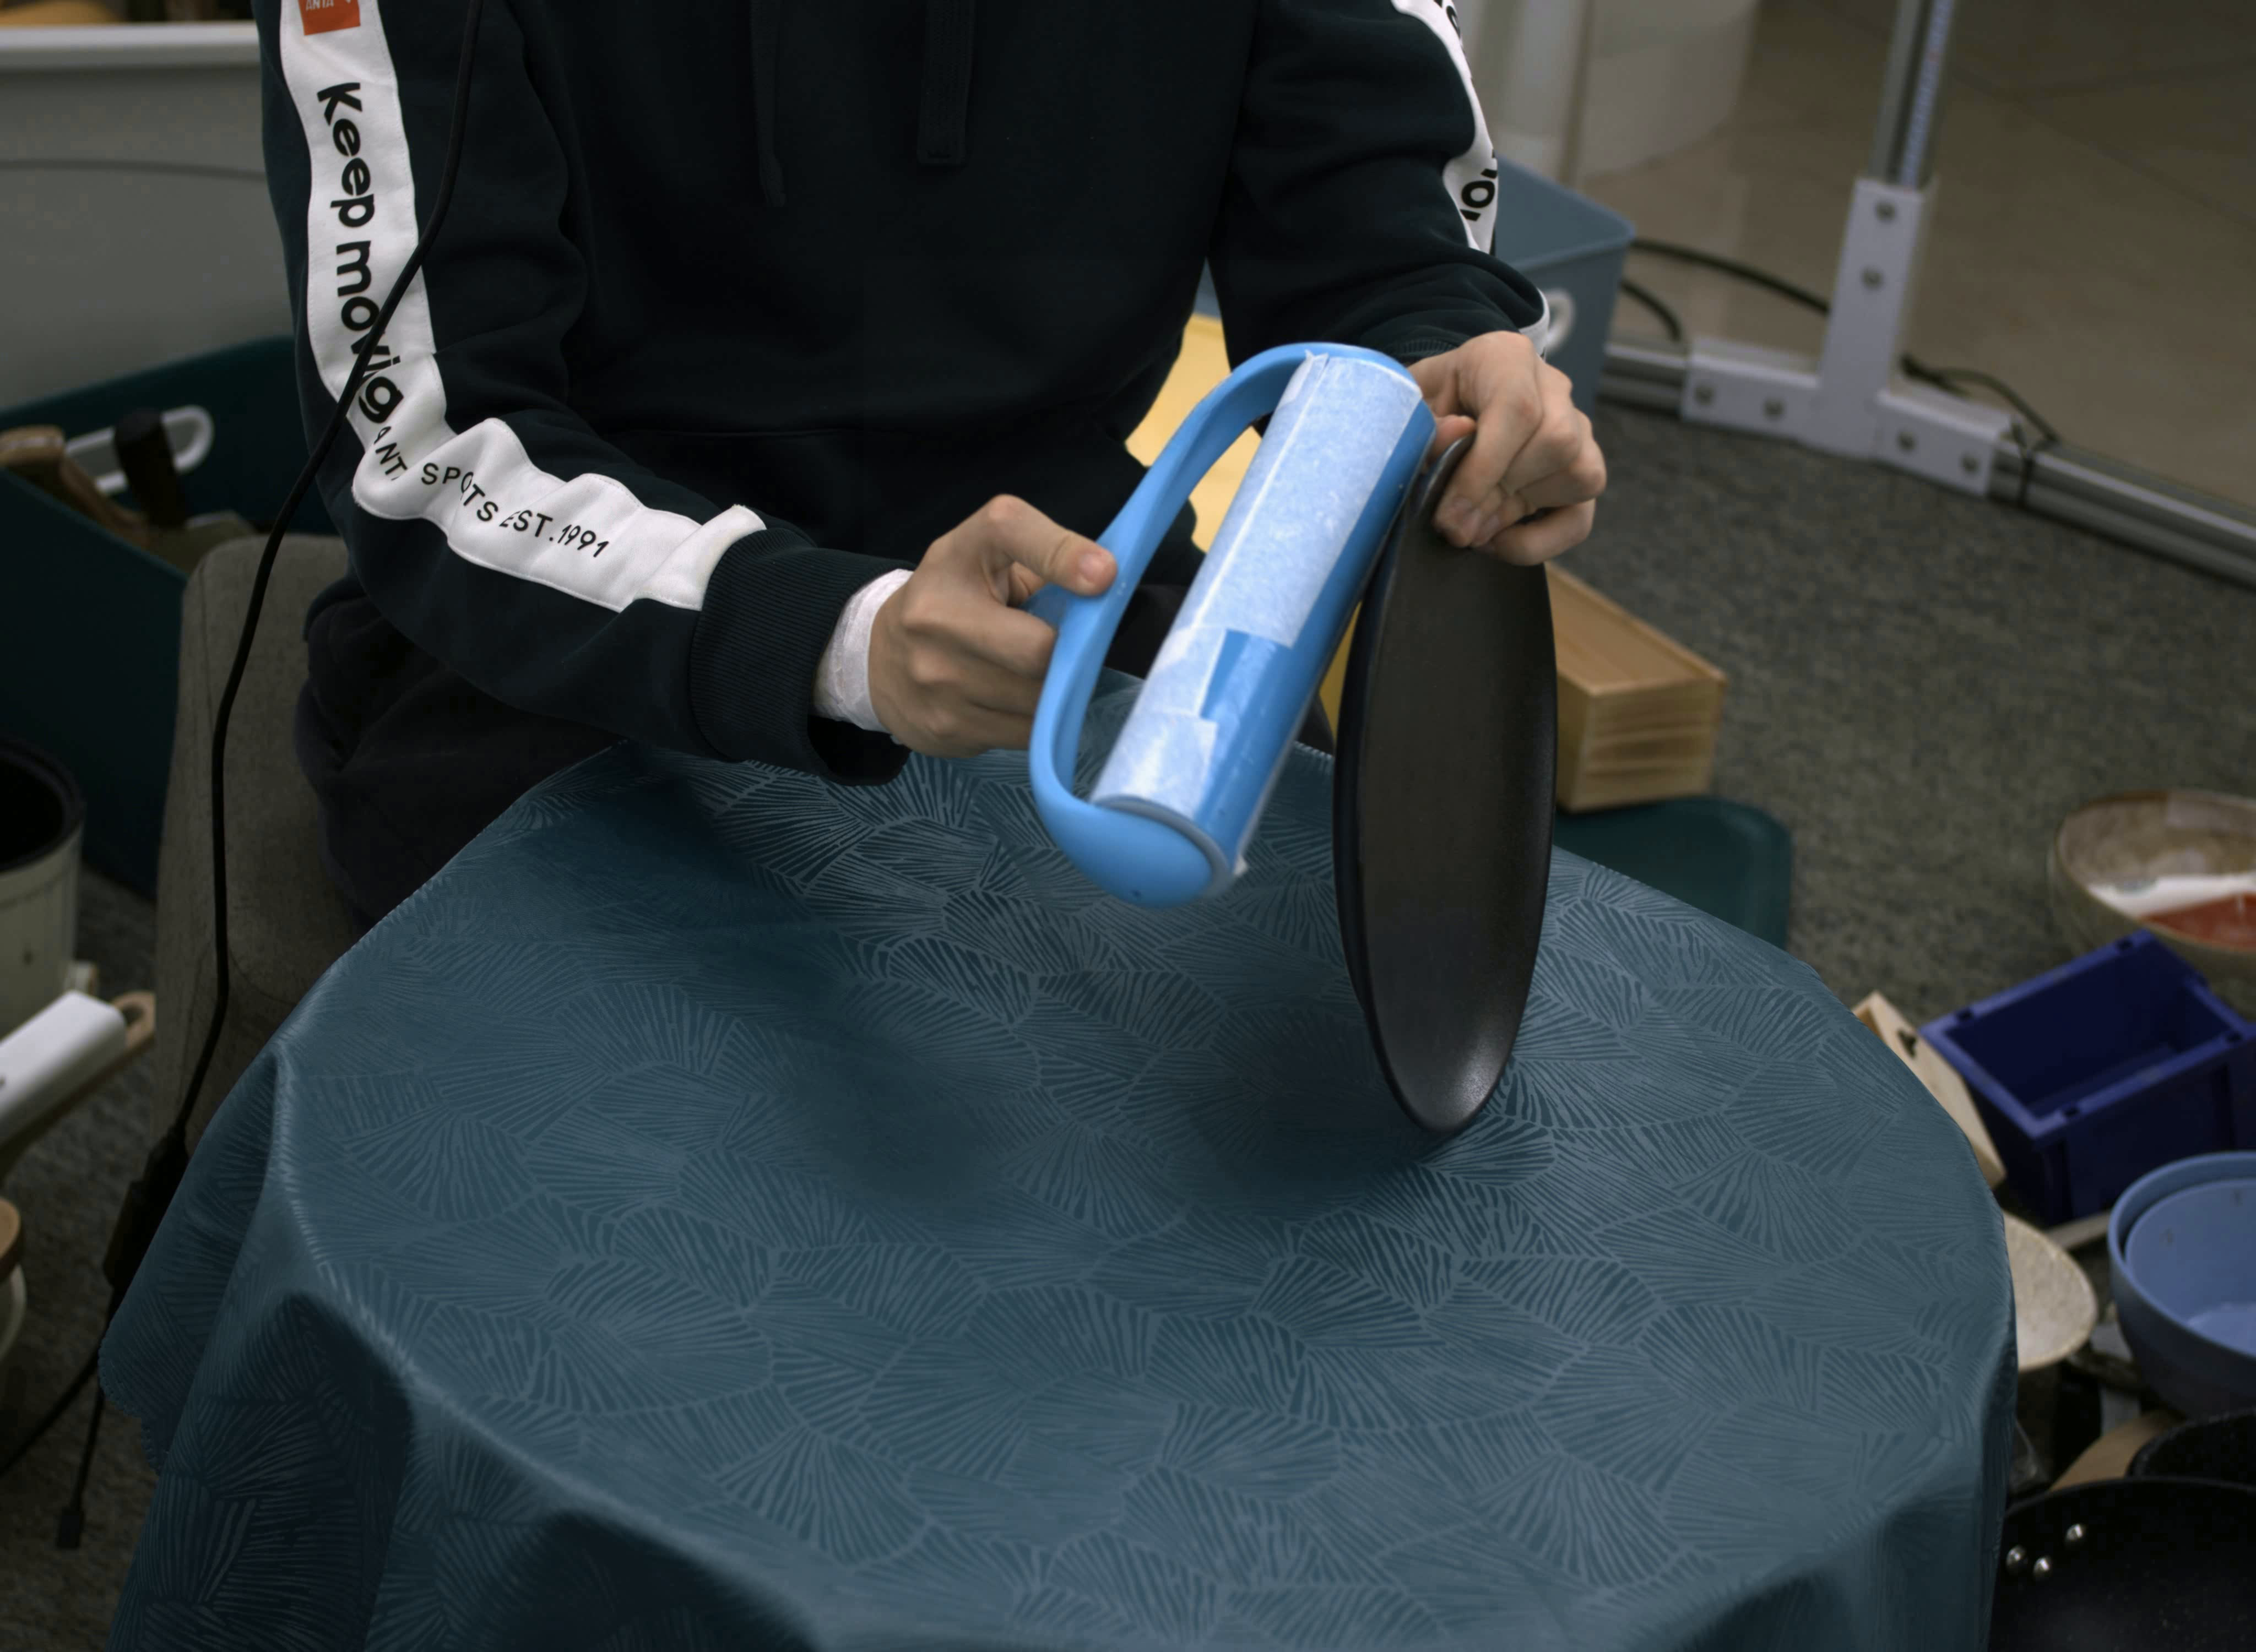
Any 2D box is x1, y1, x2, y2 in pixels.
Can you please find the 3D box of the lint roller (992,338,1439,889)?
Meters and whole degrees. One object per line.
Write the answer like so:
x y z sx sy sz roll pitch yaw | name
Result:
0.002 -0.062 1.804 0.181 0.067 0.230 -14 41 43 | lint roller

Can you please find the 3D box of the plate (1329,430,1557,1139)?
0.107 -0.015 1.839 0.023 0.243 0.244 2 24 19 | plate
